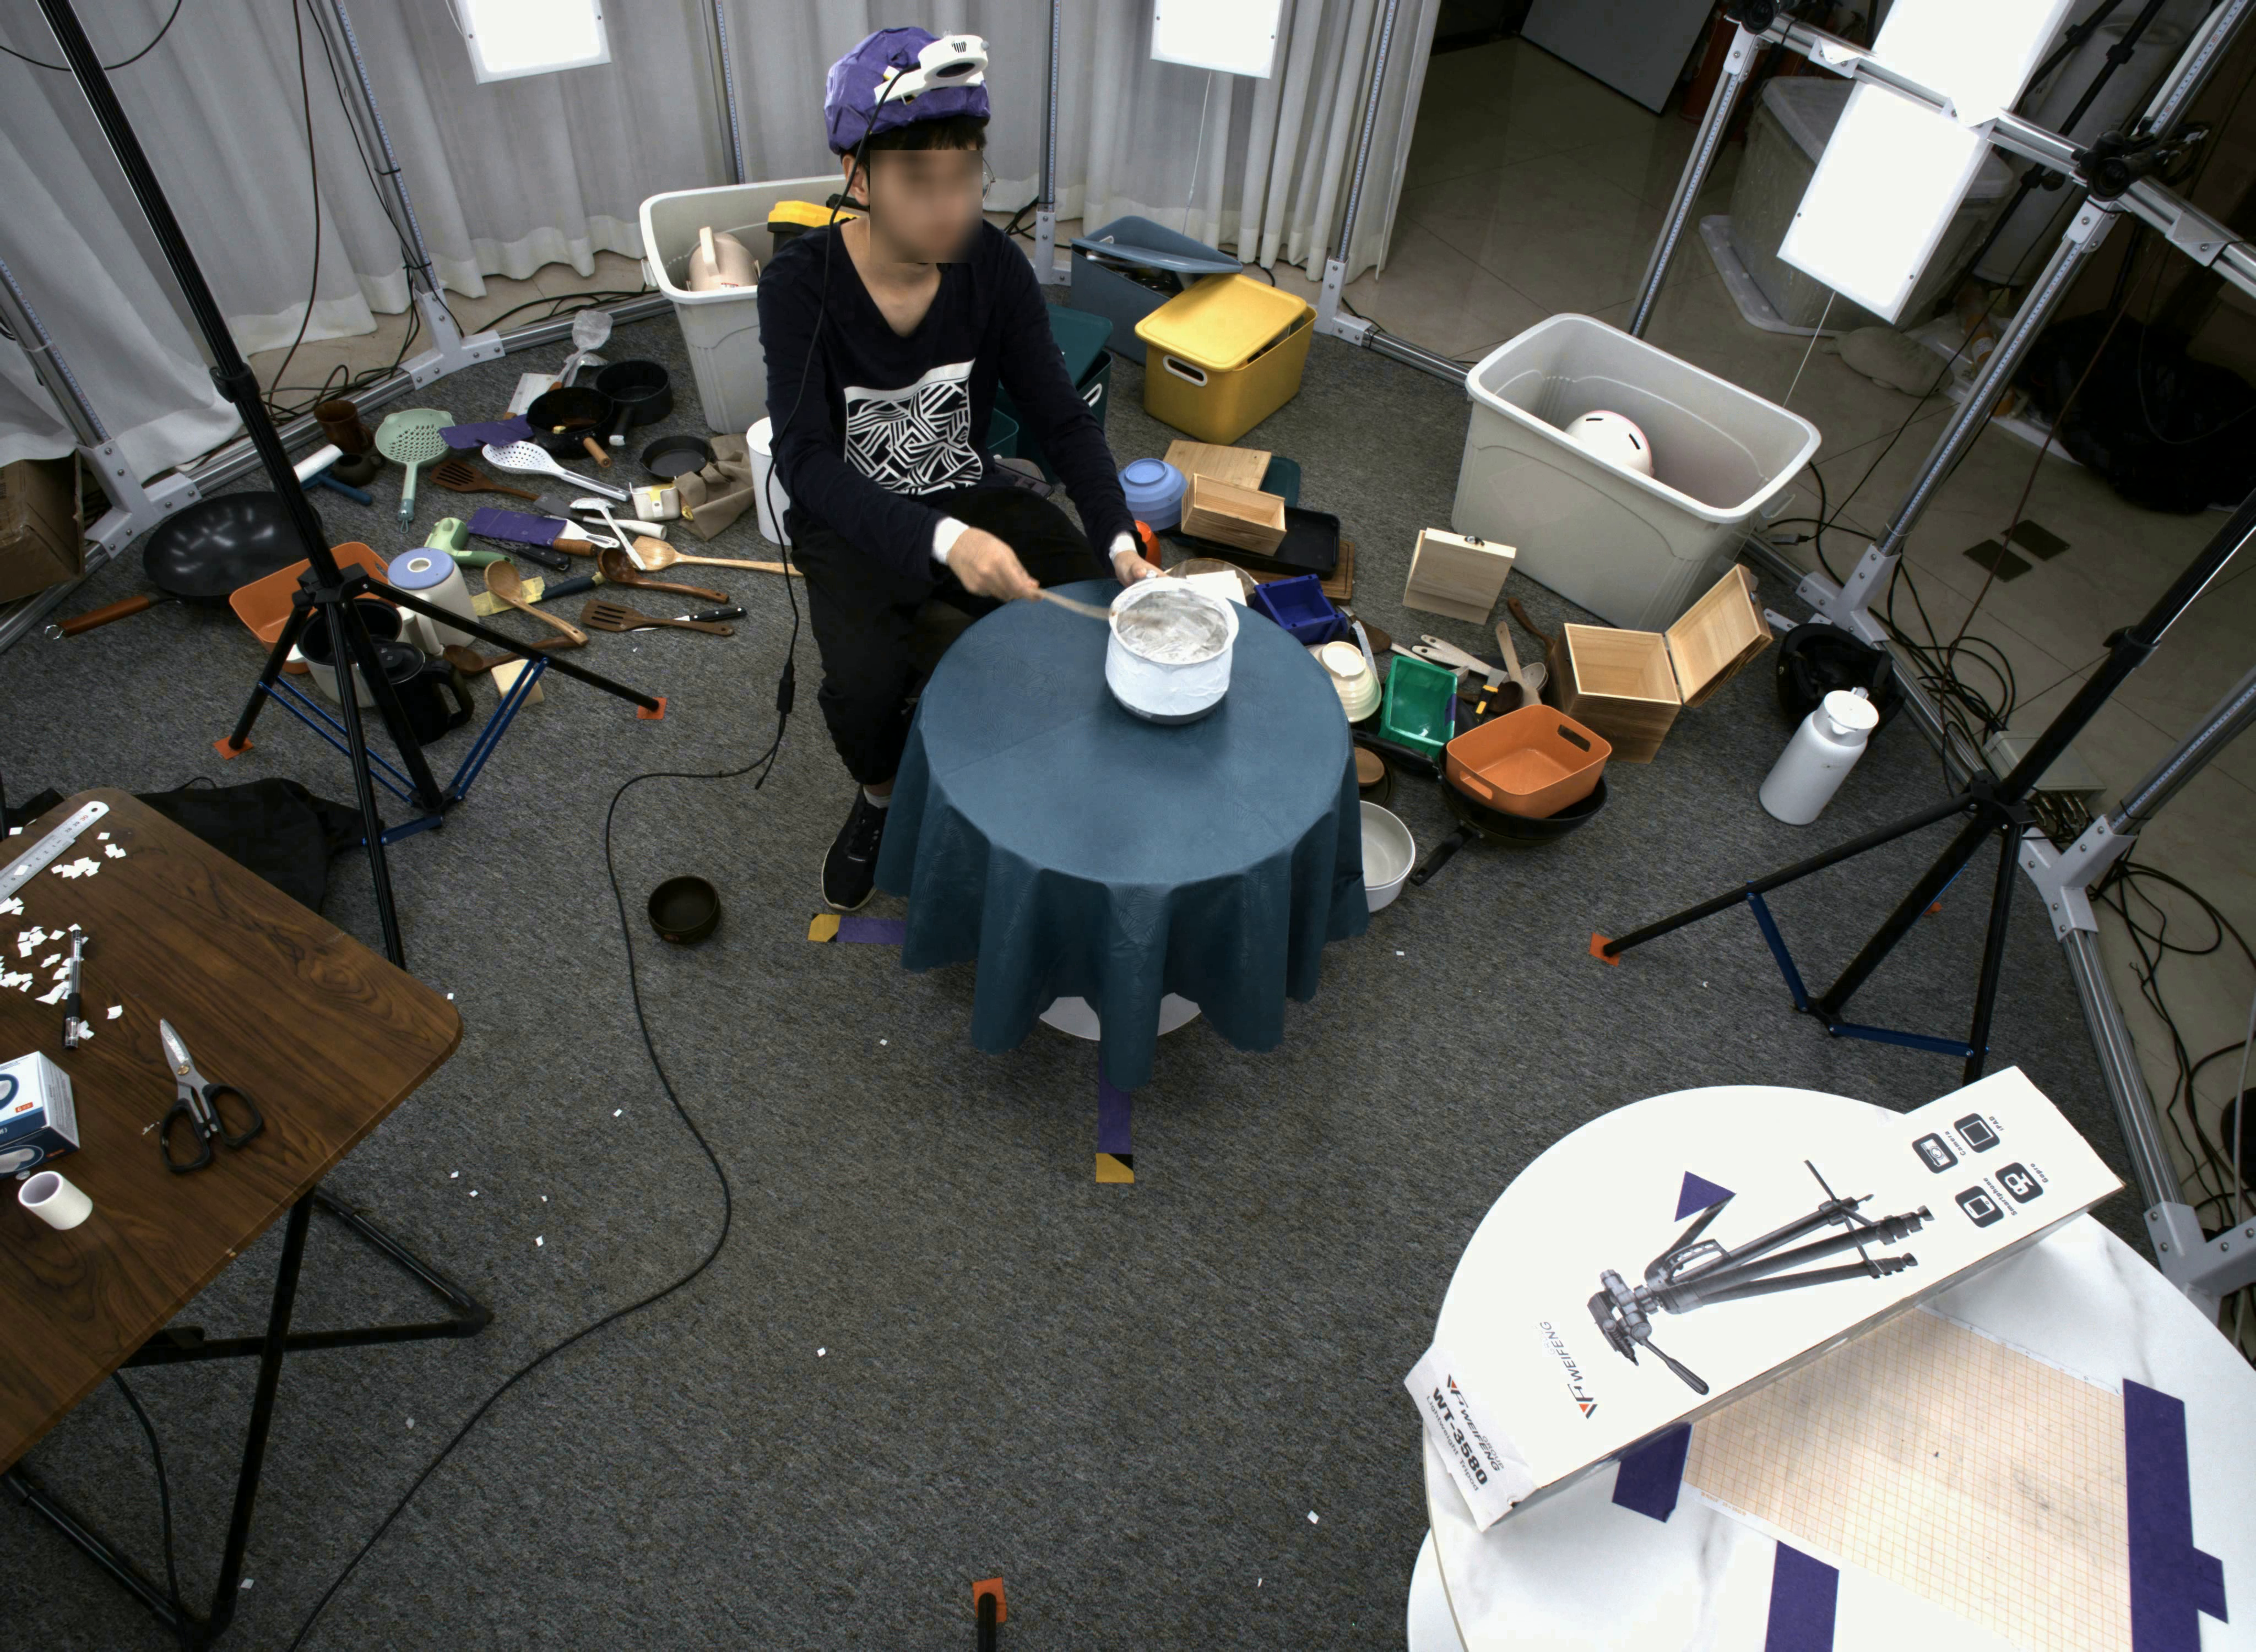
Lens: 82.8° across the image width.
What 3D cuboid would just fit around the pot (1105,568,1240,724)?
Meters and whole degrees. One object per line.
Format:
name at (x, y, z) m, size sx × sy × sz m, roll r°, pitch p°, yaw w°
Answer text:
pot at (0.049, -0.262, 1.806) m, size 0.178 × 0.133 × 0.239 m, roll -12°, pitch 53°, yaw -15°

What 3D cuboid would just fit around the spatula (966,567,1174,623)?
spatula at (-0.082, -0.302, 1.664) m, size 0.331 × 0.016 × 0.079 m, roll 21°, pitch 7°, yaw 31°
